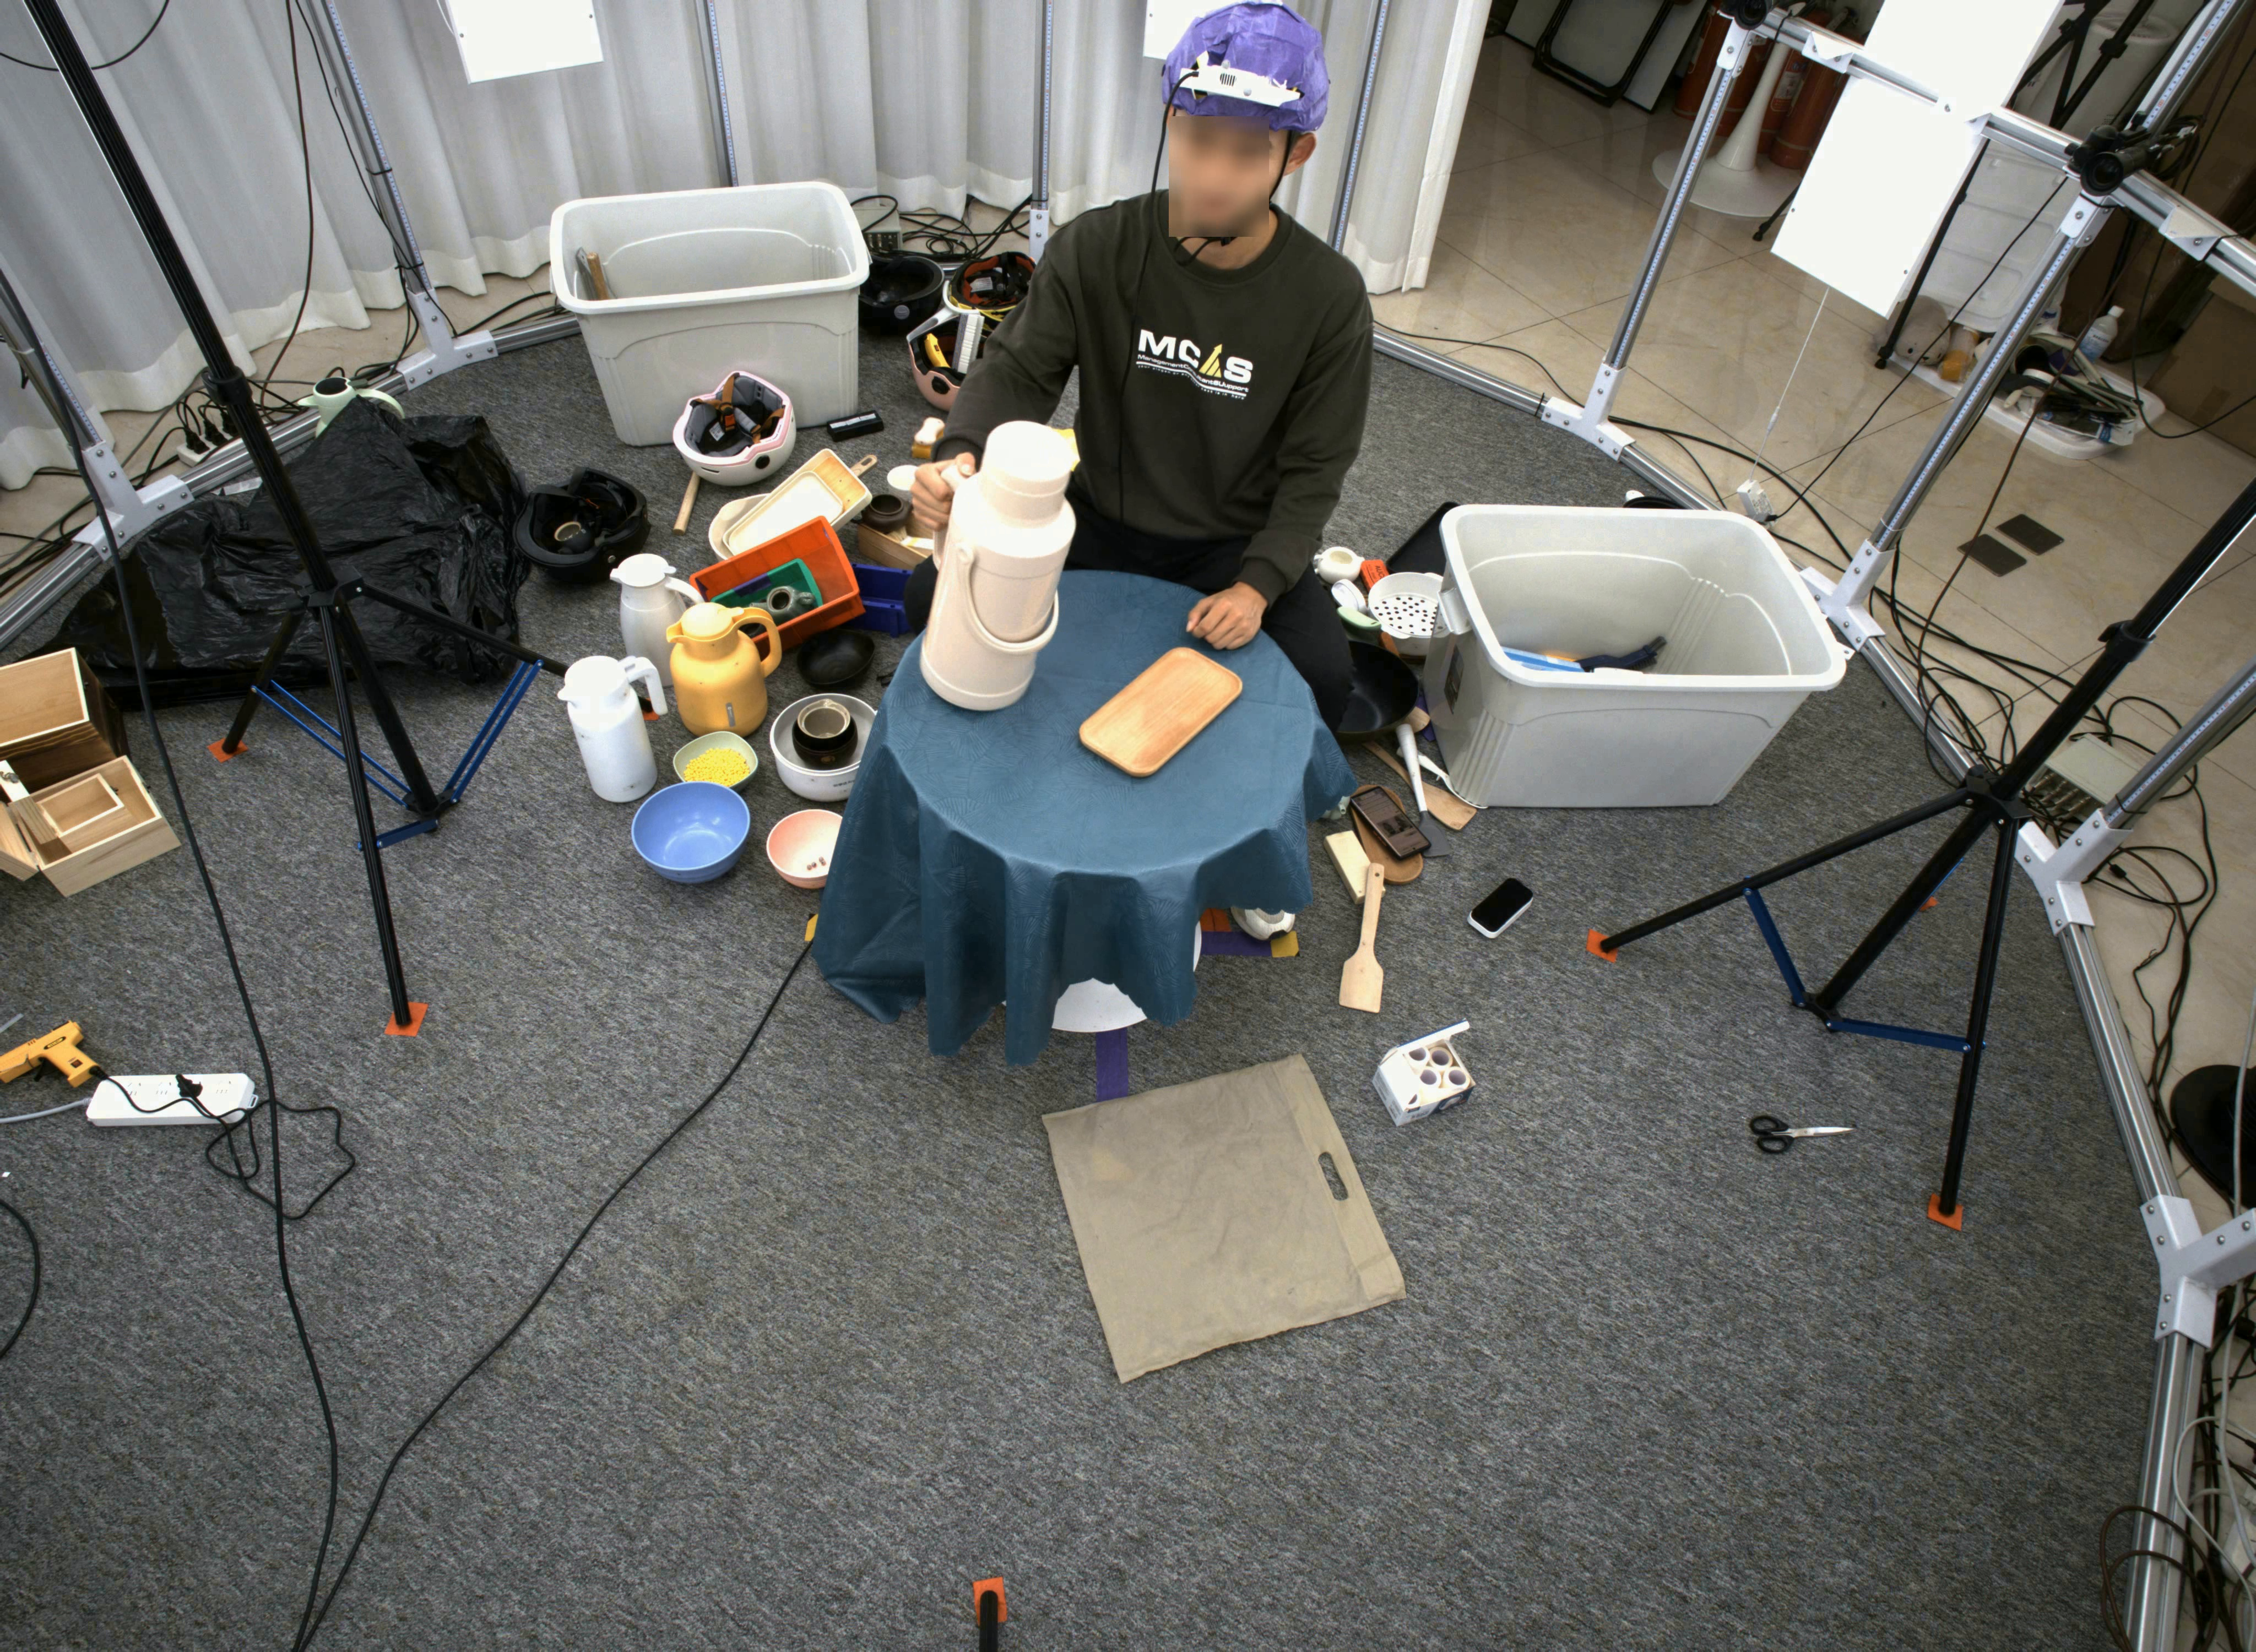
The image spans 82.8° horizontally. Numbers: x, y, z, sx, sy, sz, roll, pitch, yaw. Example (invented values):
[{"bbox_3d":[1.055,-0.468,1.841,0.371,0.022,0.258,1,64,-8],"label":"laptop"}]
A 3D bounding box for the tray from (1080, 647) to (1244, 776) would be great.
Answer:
[{"bbox_3d":[0.049,-0.163,1.799,0.132,0.022,0.253,35,54,21],"label":"tray"}]

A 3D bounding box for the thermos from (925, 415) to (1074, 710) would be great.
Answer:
[{"bbox_3d":[-0.174,-0.346,1.680,0.209,0.398,0.177,41,55,15],"label":"thermos"}]
